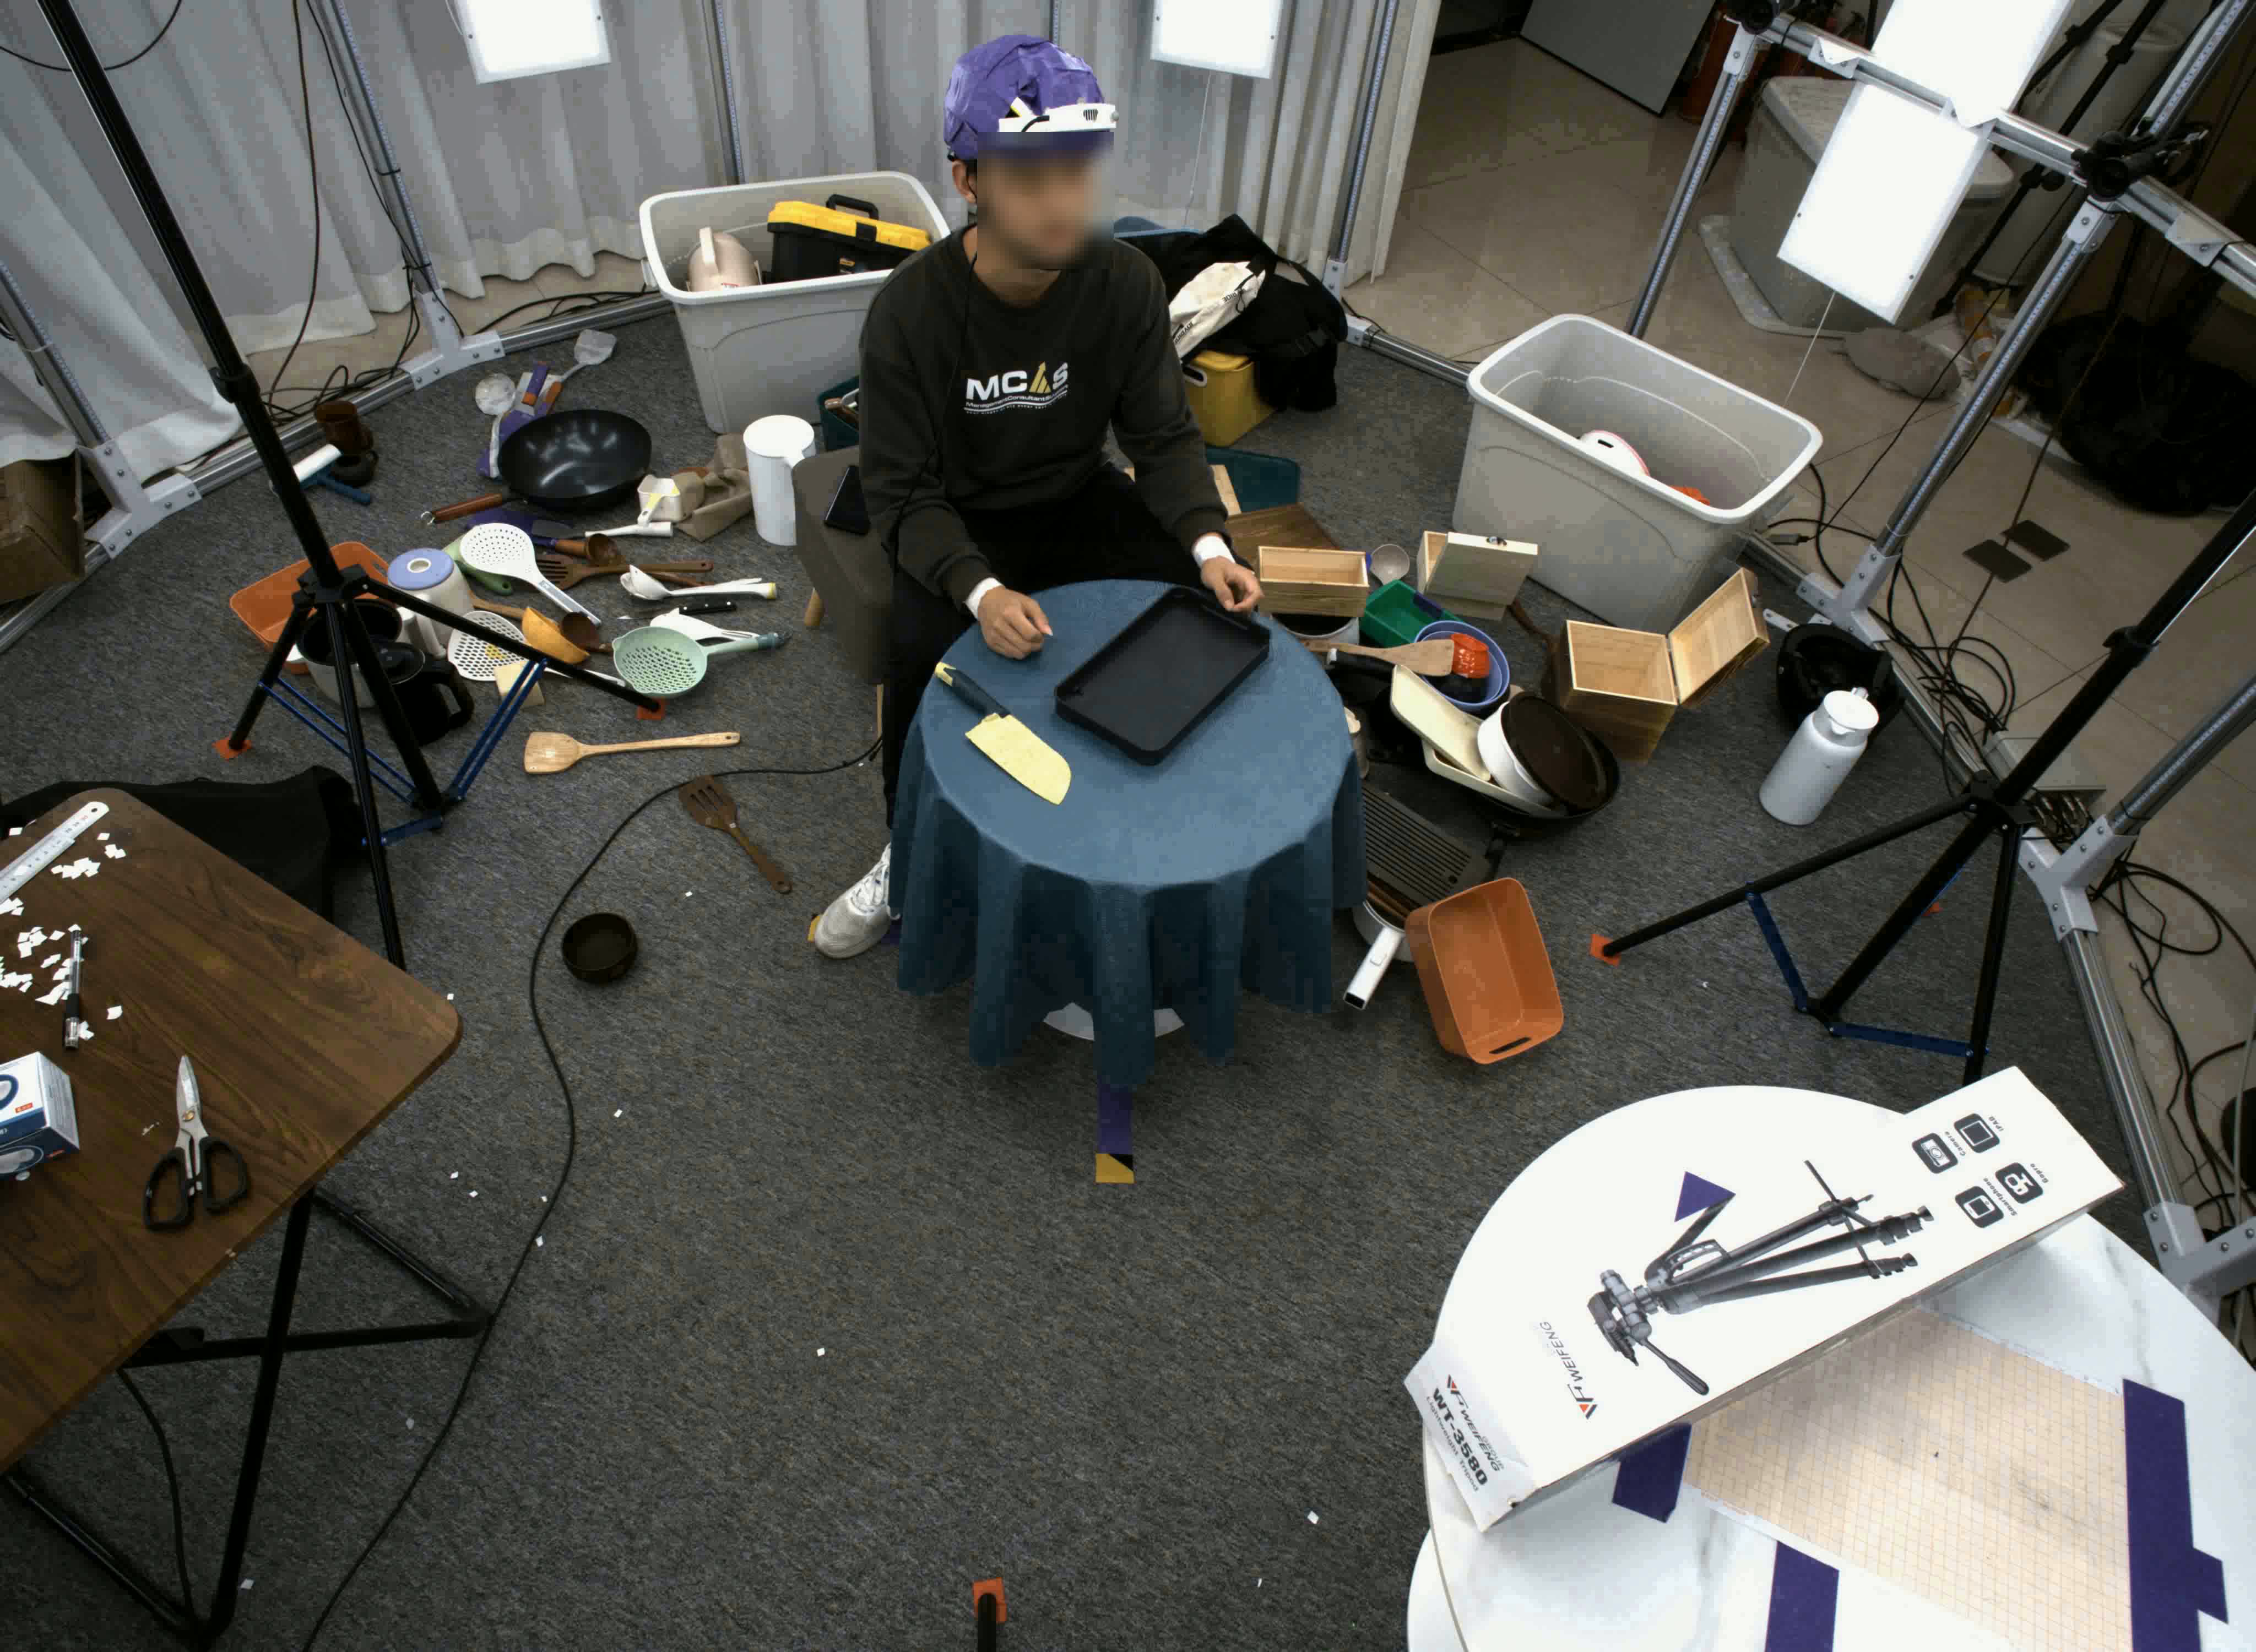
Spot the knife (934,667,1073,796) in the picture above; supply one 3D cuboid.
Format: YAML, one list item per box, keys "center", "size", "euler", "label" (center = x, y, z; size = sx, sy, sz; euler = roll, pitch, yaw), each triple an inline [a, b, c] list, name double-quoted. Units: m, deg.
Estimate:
- center: [-0.179, -0.129, 1.758]
  size: [0.081, 0.026, 0.294]
  euler: [-32, 59, -29]
  label: "knife"

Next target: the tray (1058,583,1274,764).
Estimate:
- center: [0.058, -0.226, 1.844]
  size: [0.186, 0.036, 0.322]
  euler: [29, 54, 21]
  label: "tray"
